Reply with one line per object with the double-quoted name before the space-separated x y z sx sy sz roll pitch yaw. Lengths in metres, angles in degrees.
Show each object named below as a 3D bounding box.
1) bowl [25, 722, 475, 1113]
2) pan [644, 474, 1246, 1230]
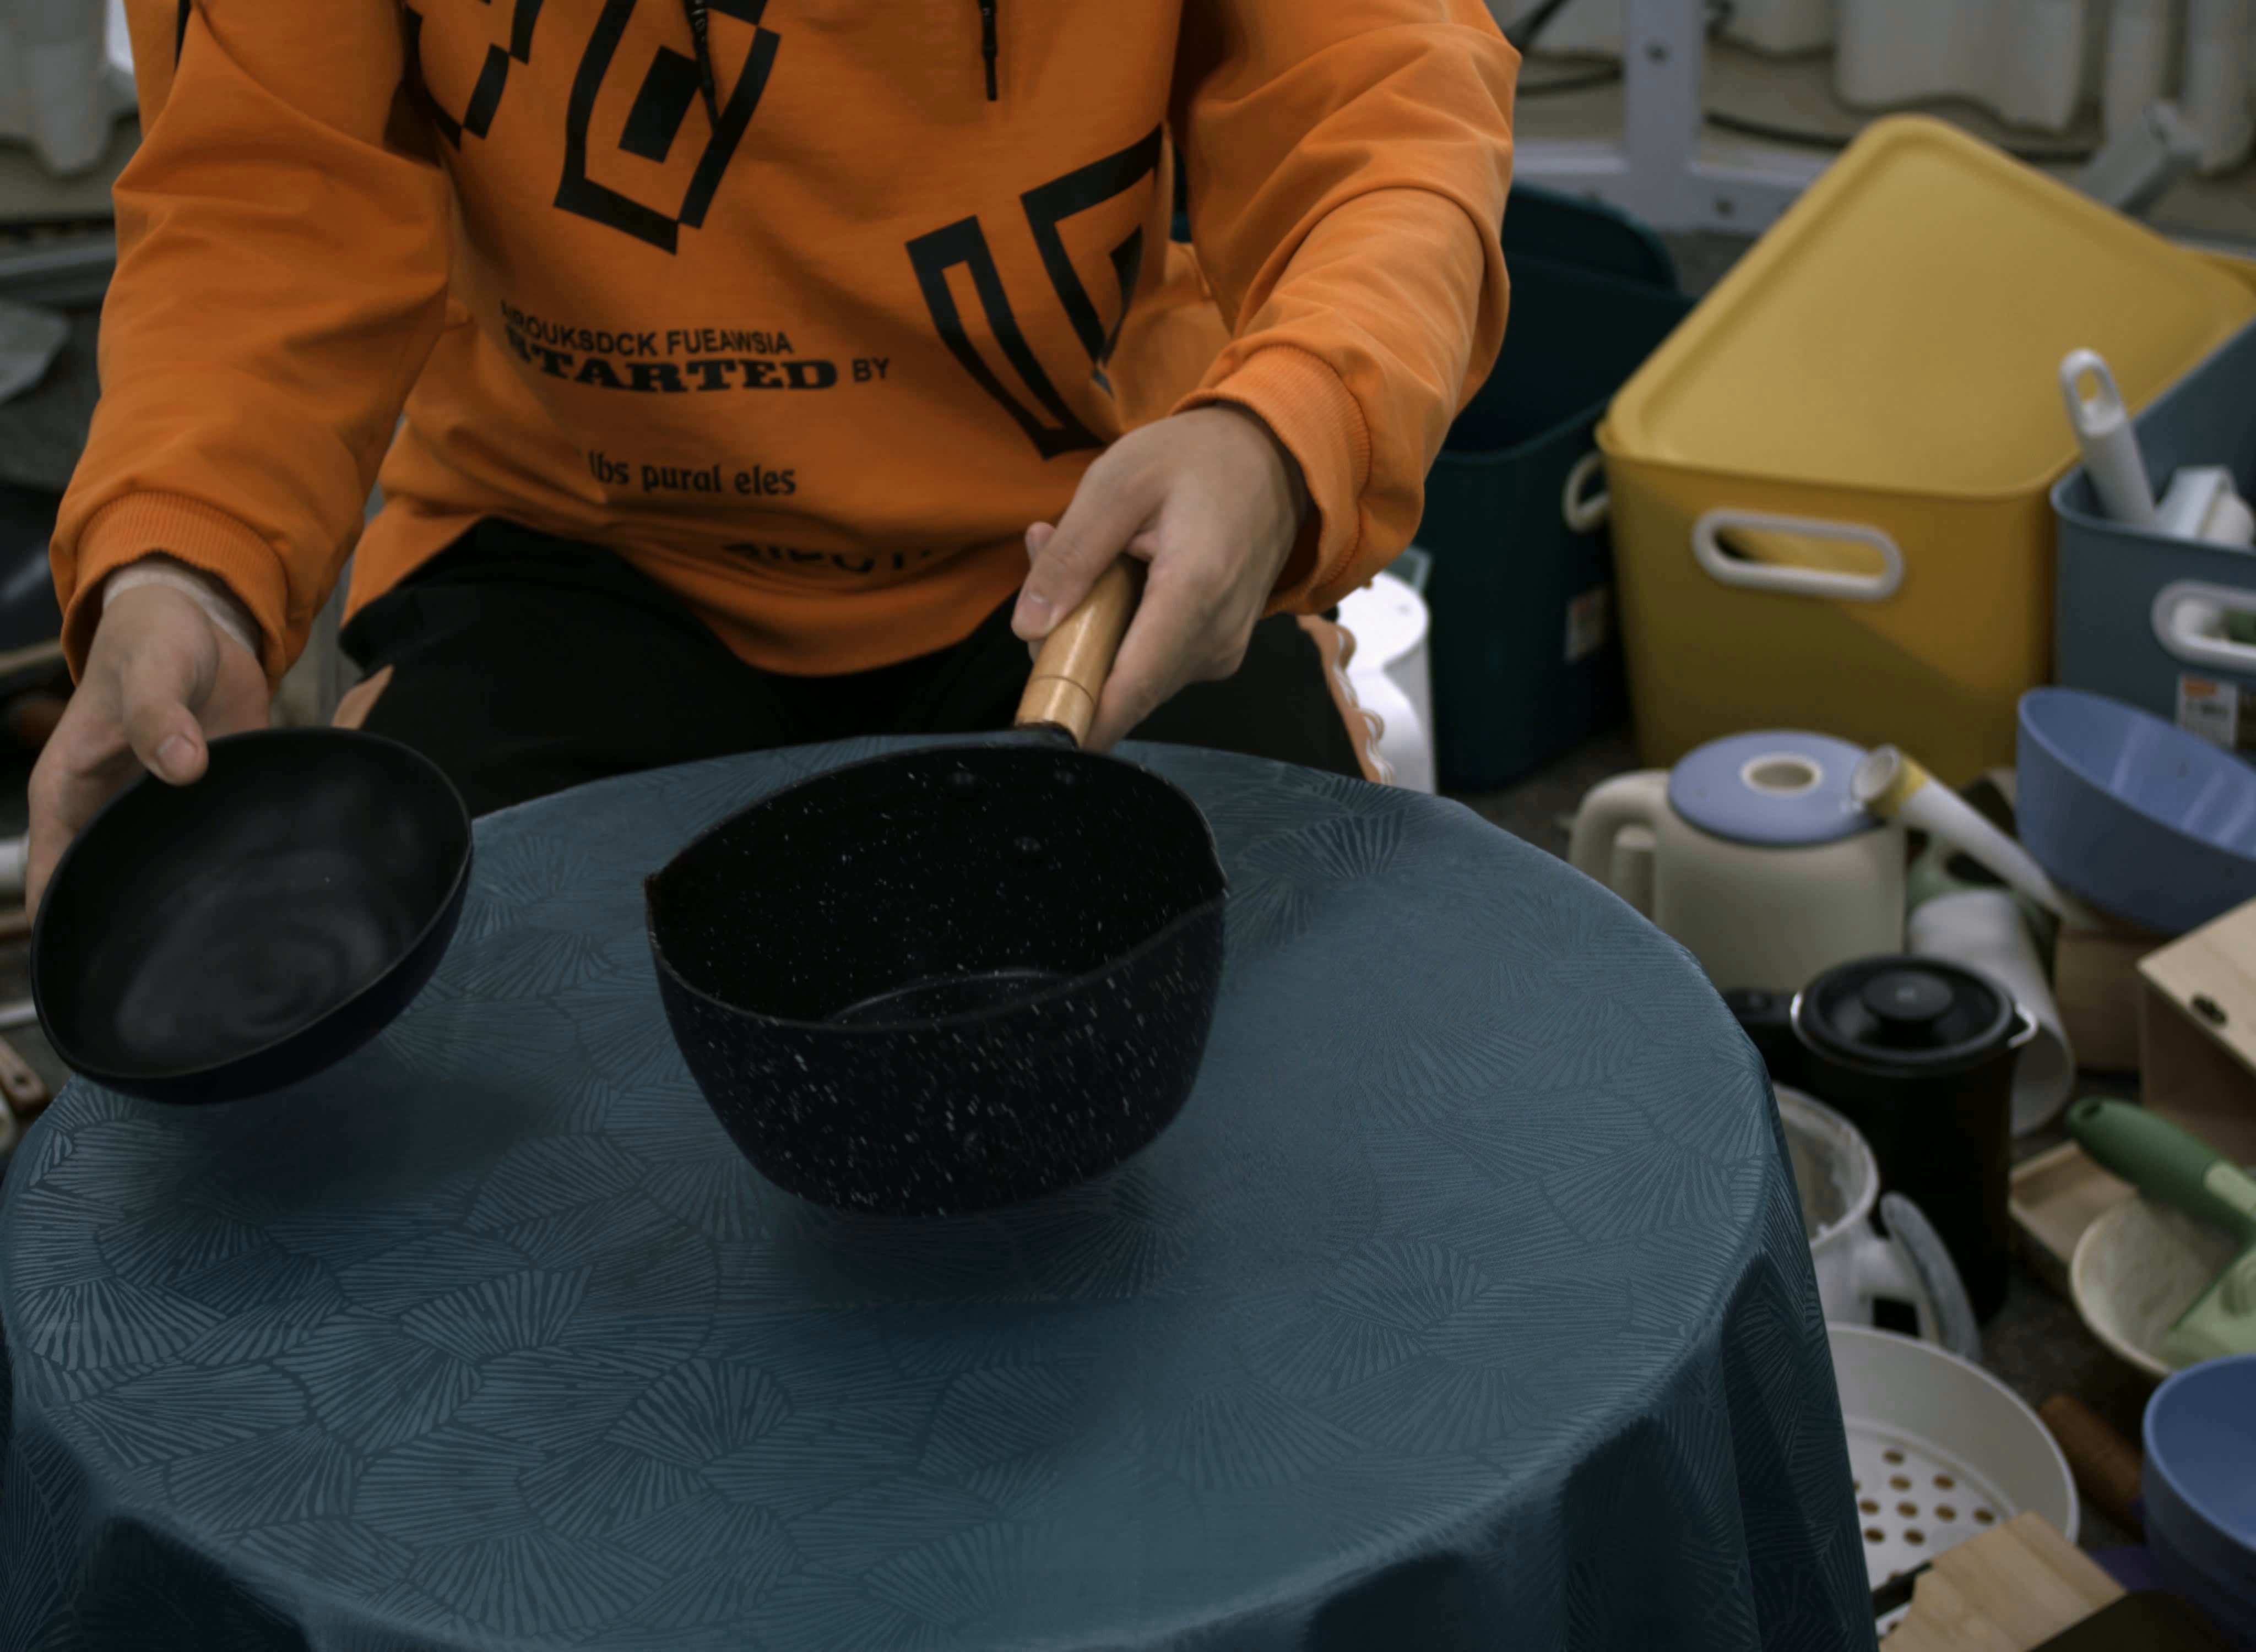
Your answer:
"bowl" -0.291 0.043 1.895 0.137 0.066 0.173 22 51 25
"pan" -0.038 0.006 1.883 0.206 0.107 0.349 0 30 17
